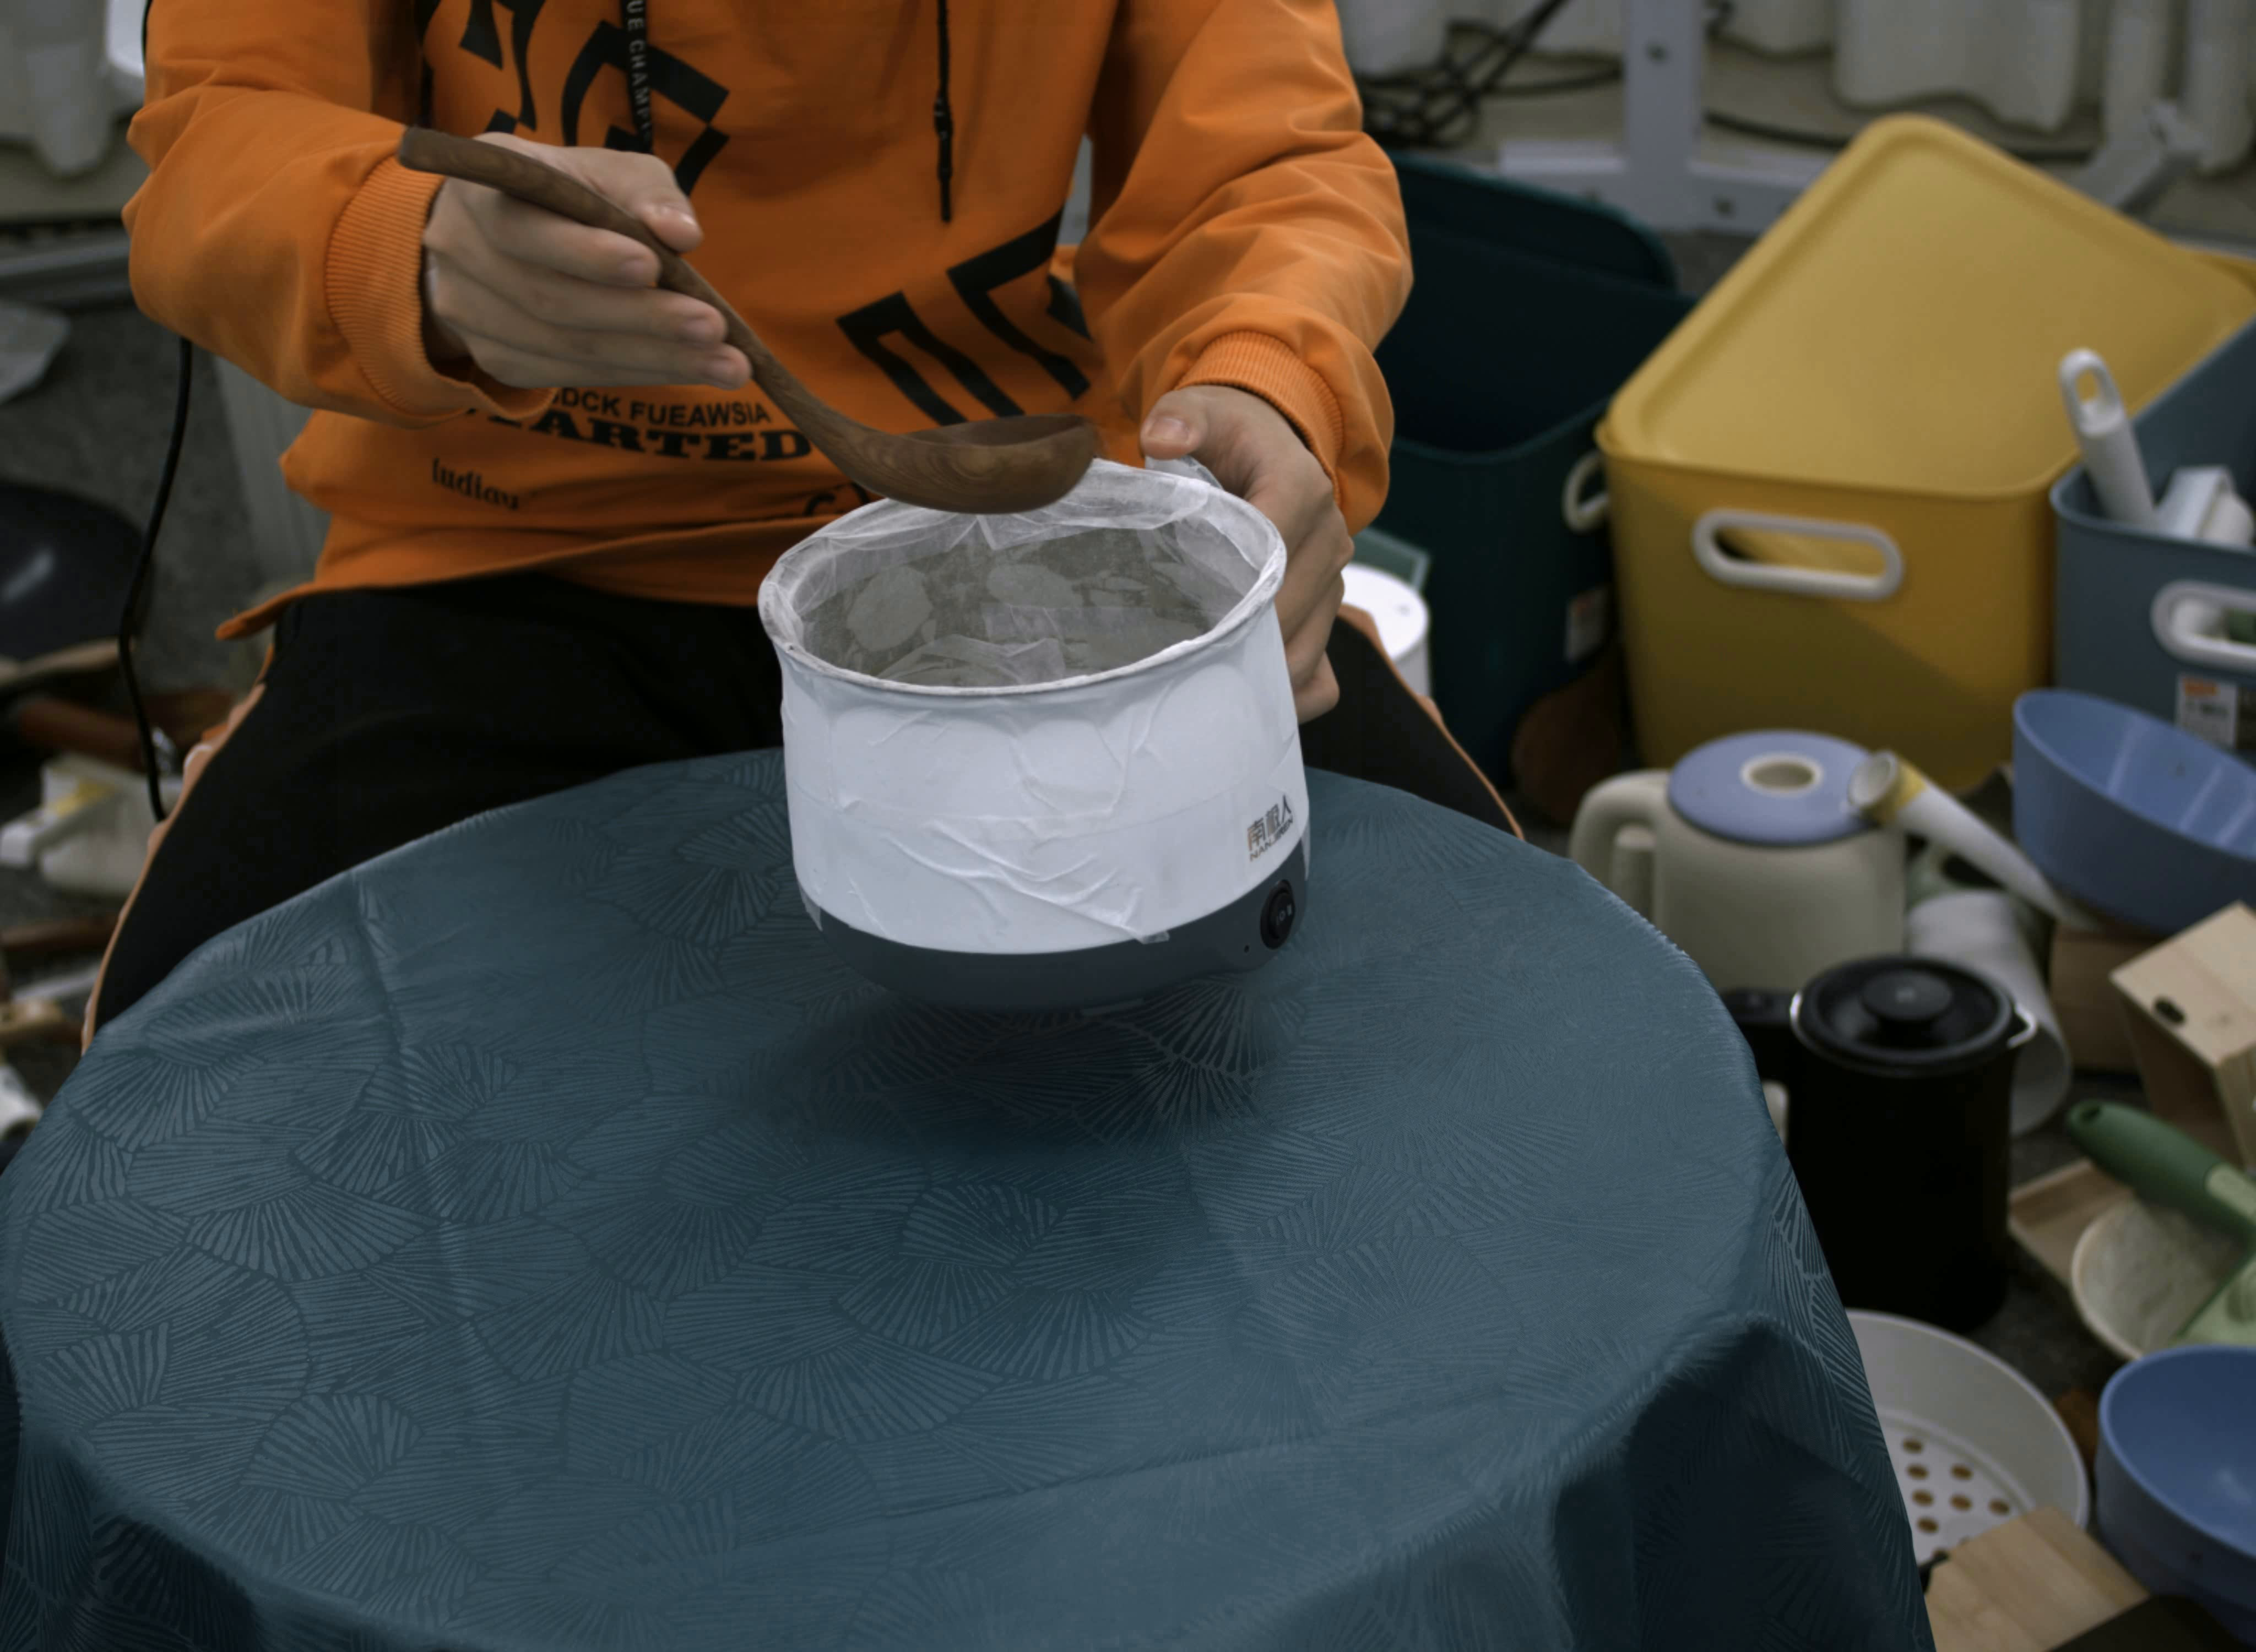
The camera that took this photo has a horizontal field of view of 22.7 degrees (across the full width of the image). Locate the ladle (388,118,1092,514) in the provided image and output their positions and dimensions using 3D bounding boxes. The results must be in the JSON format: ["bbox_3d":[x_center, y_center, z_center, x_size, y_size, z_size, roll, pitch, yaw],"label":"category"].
[{"bbox_3d":[-0.123,-0.175,1.842,0.076,0.259,0.066,0,59,62],"label":"ladle"}]

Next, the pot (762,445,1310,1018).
[{"bbox_3d":[-0.016,-0.039,1.920,0.177,0.135,0.237,9,30,27],"label":"pot"}]
